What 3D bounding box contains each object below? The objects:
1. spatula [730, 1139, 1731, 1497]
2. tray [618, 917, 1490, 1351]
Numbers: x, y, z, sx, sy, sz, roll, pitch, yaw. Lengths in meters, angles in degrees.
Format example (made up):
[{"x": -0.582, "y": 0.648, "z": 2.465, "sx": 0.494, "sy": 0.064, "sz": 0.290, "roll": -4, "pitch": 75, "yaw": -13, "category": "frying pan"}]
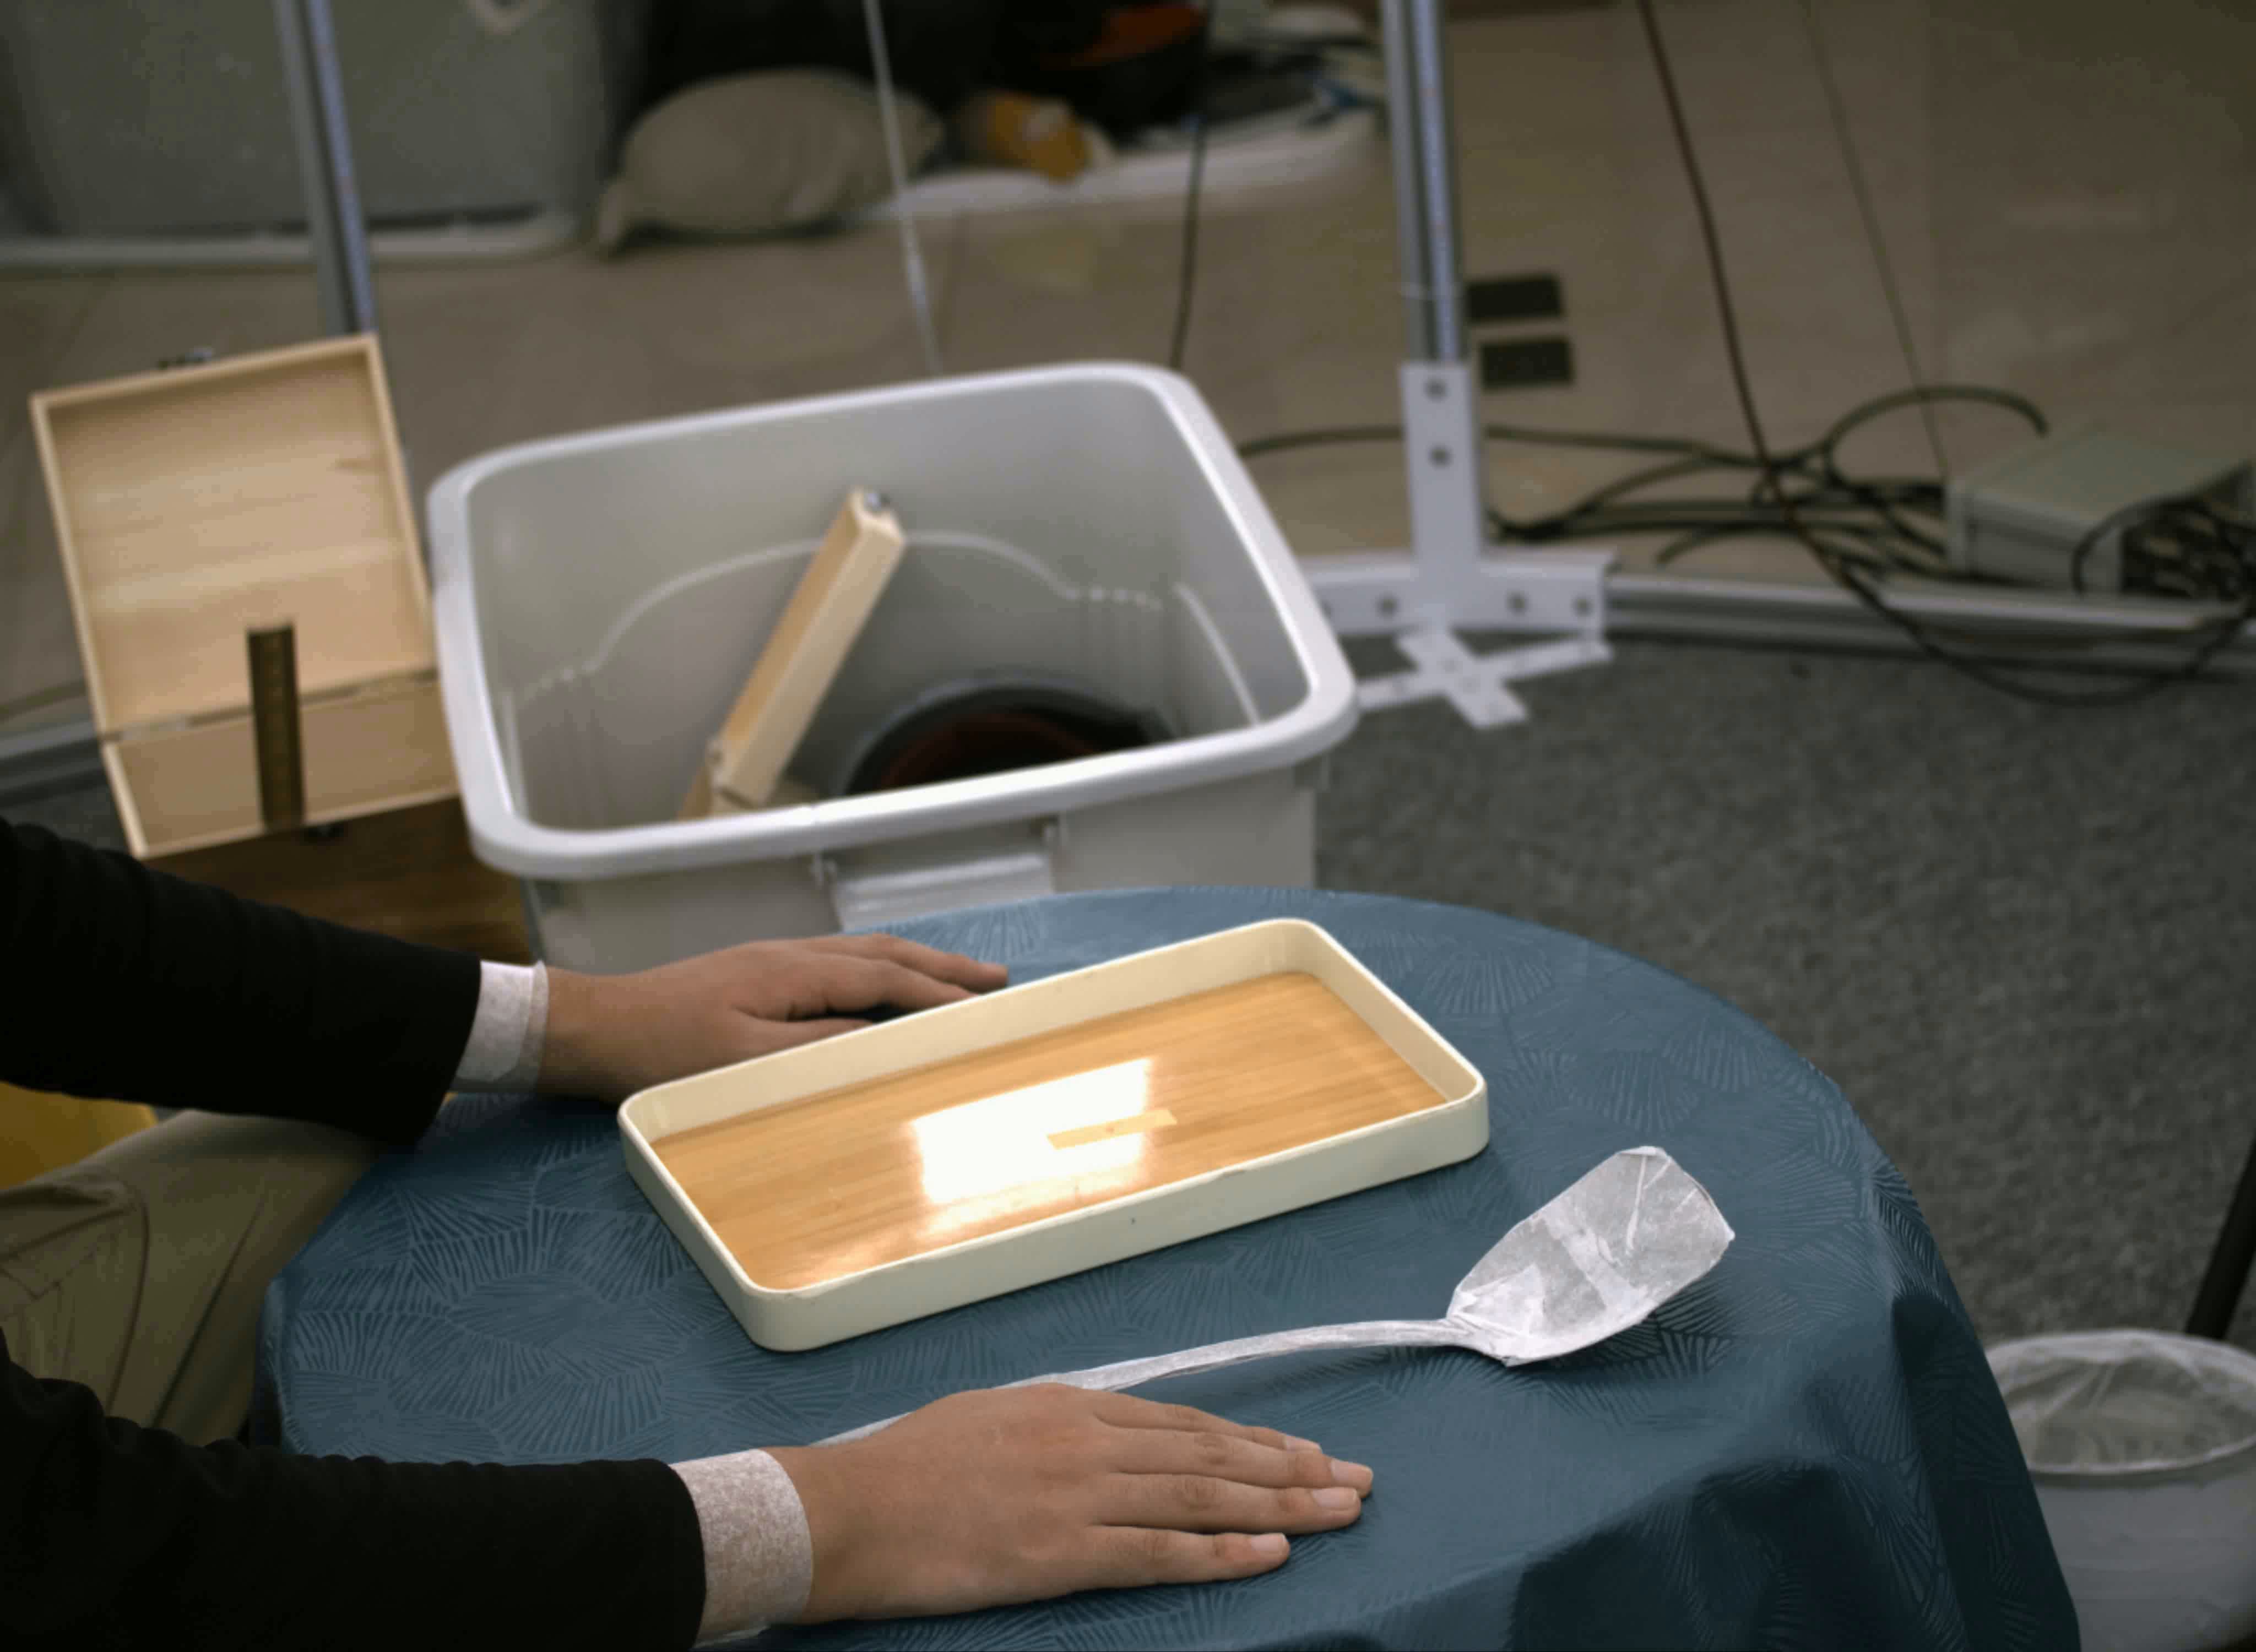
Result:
[{"x": 0.036, "y": 0.182, "z": 2.001, "sx": 0.364, "sy": 0.045, "sz": 0.097, "roll": -11, "pitch": 26, "yaw": -11, "category": "spatula"}, {"x": -0.030, "y": 0.115, "z": 2.176, "sx": 0.299, "sy": 0.028, "sz": 0.189, "roll": -15, "pitch": 26, "yaw": -17, "category": "tray"}]
